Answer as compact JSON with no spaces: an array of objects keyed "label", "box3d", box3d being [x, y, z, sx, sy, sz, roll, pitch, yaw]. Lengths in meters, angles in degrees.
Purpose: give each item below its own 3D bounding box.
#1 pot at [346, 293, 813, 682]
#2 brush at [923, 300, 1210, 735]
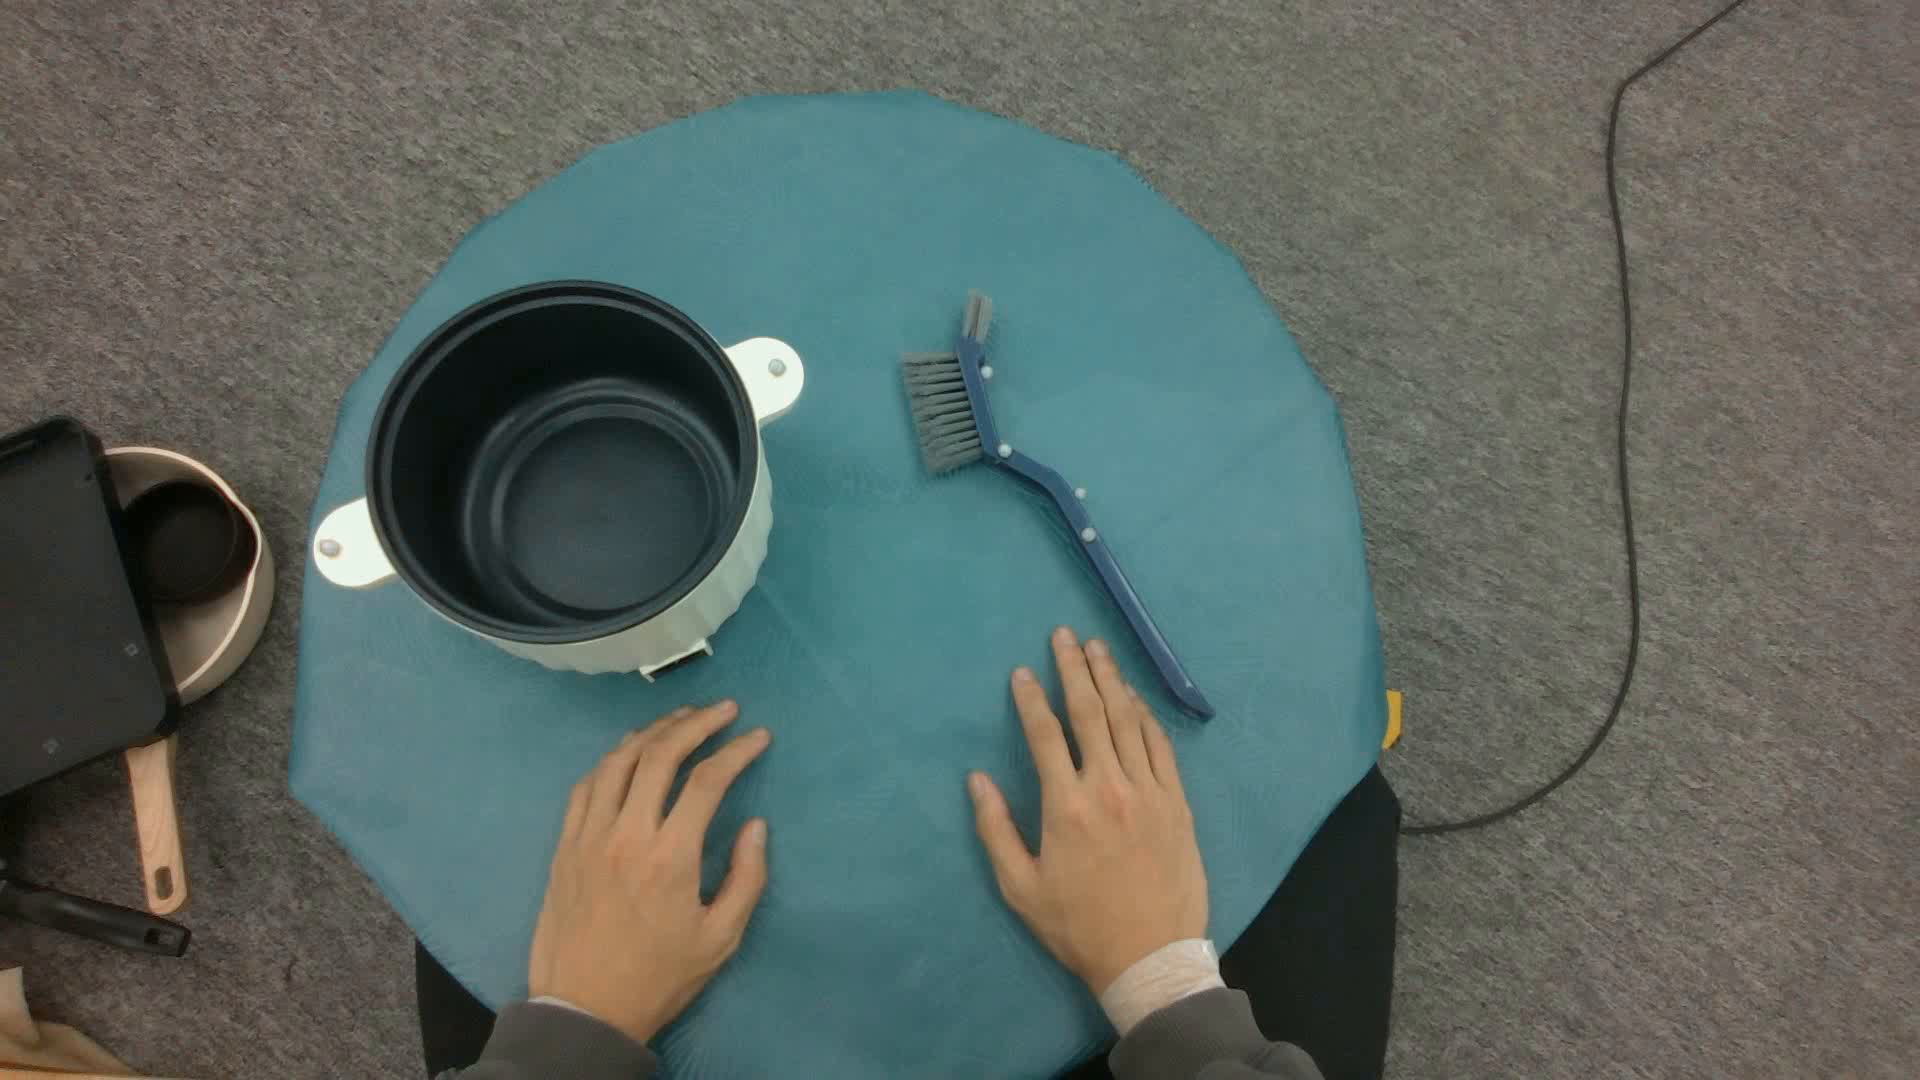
[{"label":"pot","box3d":[-0.188,-0.024,0.729,0.241,0.142,0.190,-25,79,-9]},{"label":"brush","box3d":[0.072,-0.015,0.788,0.096,0.033,0.273,-37,76,-12]}]
